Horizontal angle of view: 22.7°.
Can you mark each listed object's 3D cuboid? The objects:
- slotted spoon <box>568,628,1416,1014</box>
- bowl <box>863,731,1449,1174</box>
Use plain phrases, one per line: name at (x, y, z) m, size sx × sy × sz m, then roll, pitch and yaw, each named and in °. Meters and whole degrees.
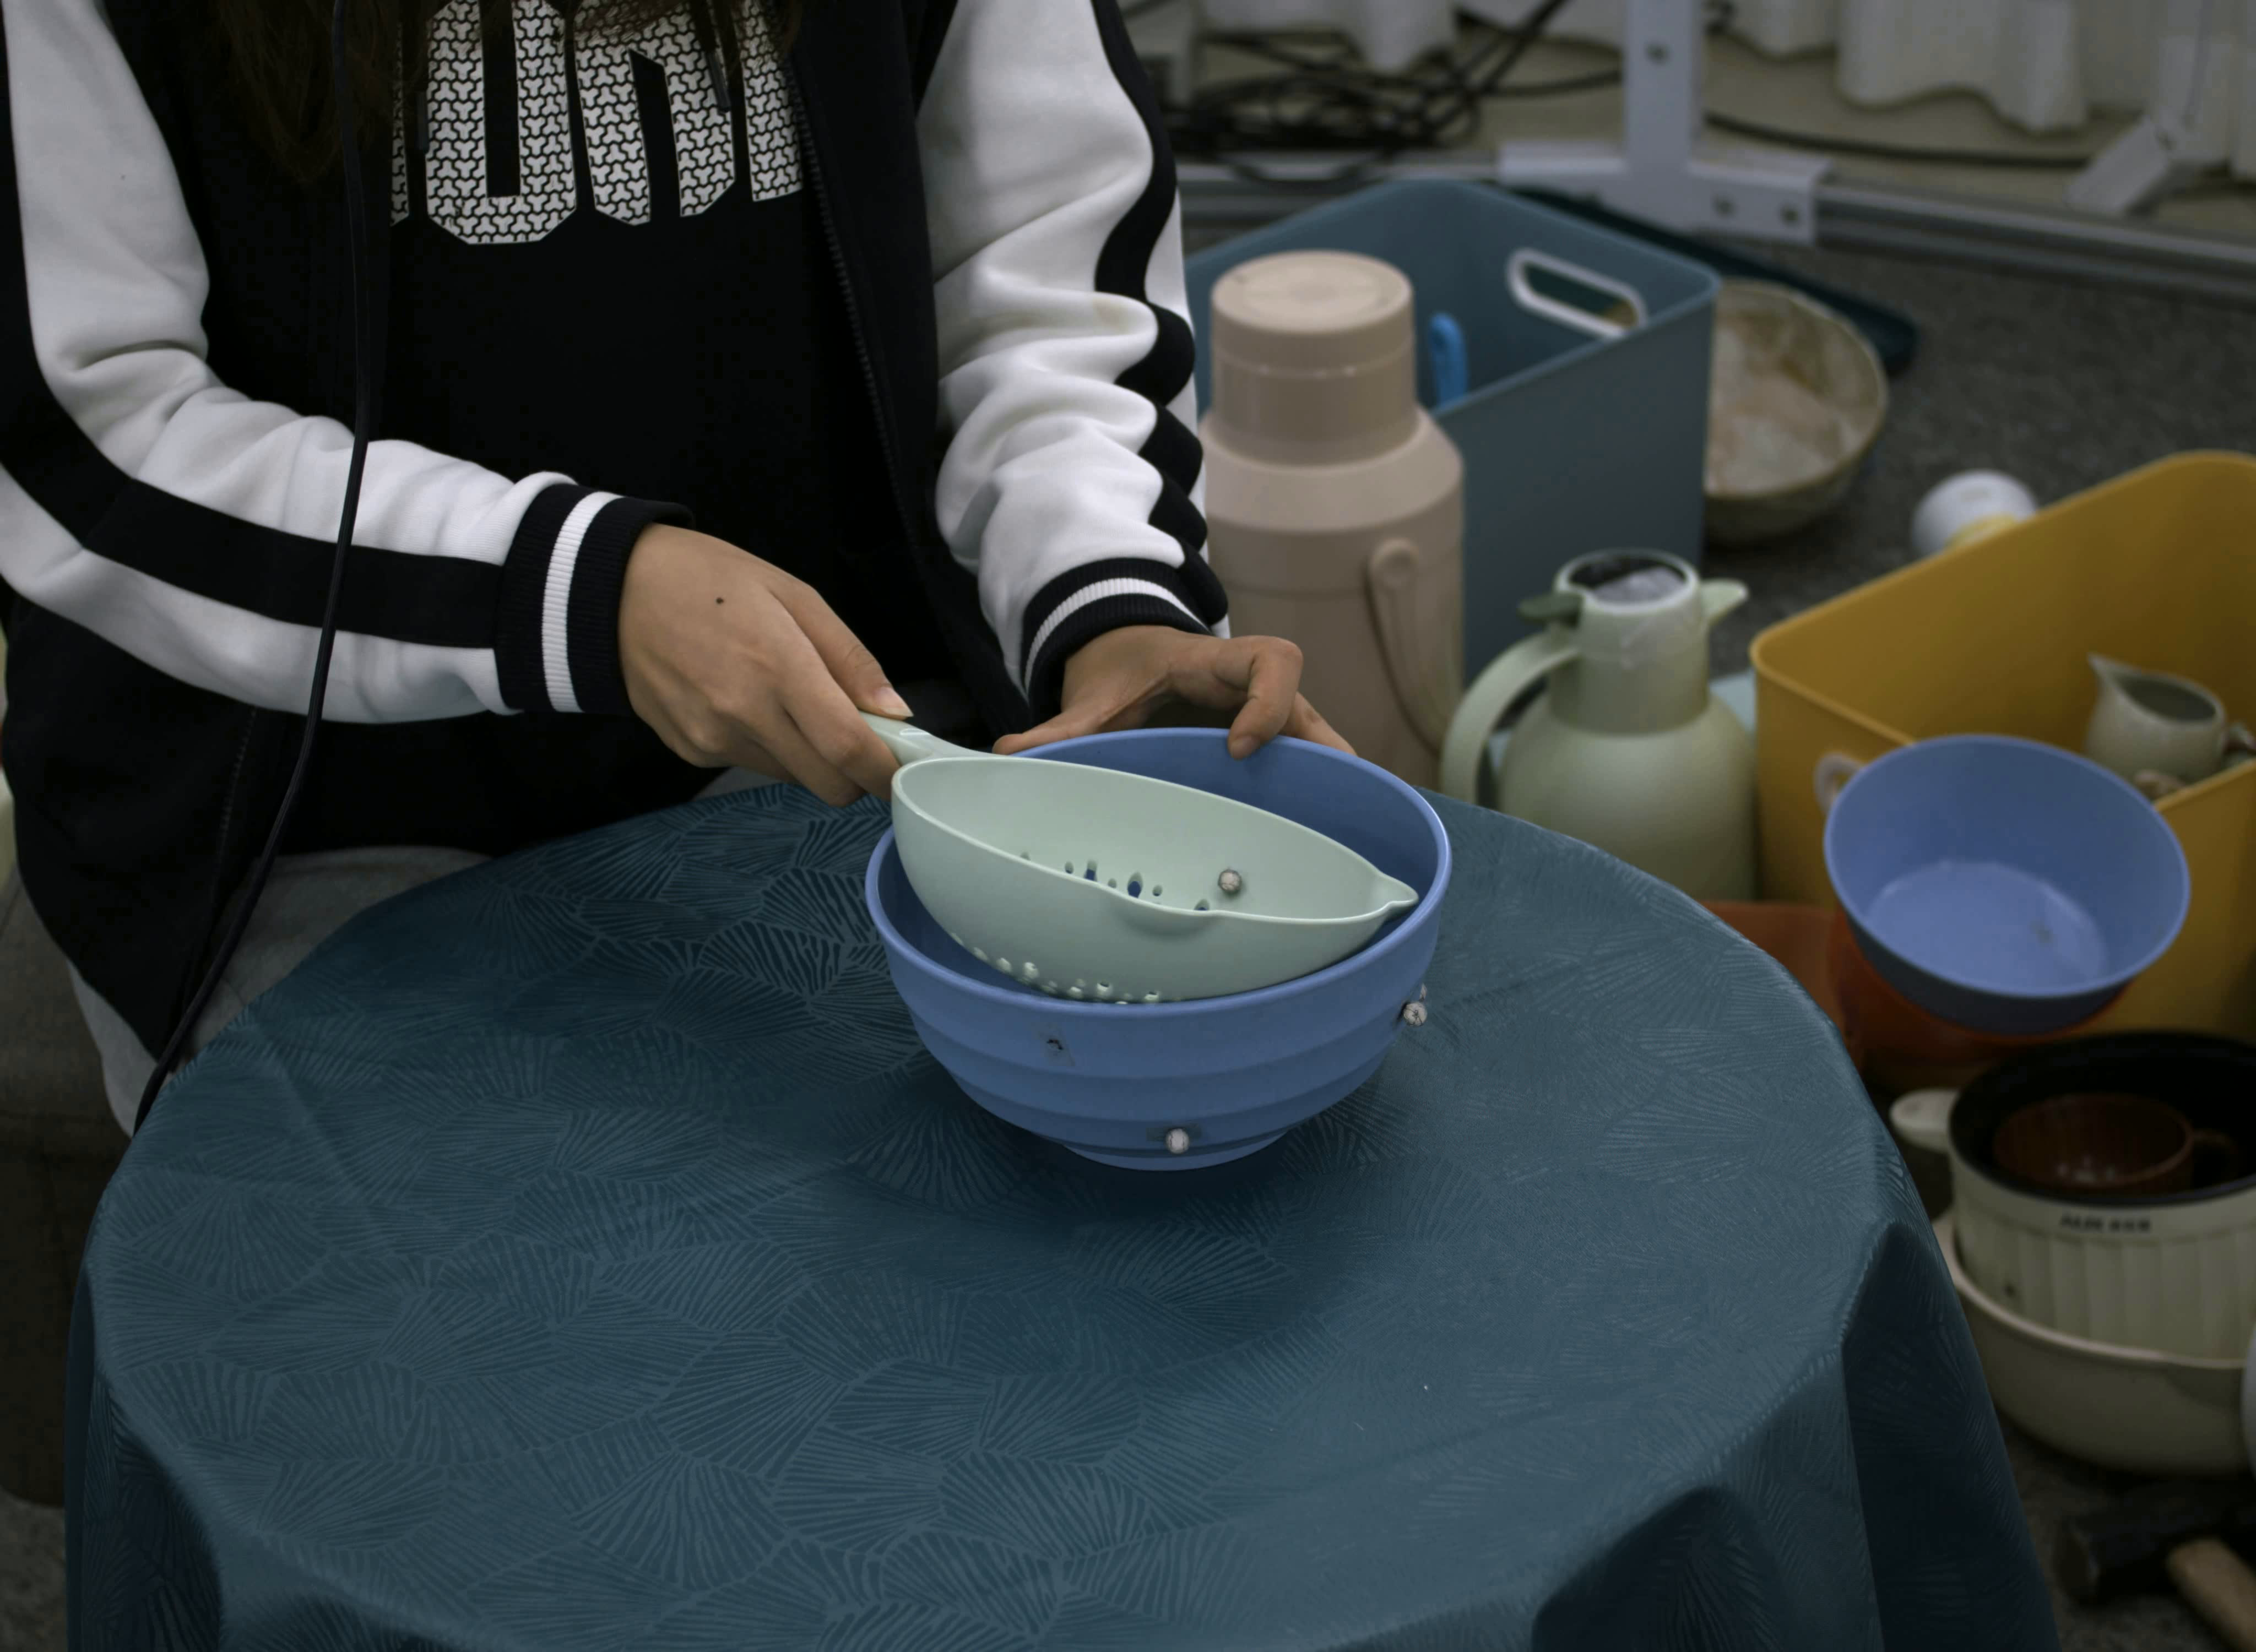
slotted spoon at (-0.068, -0.014, 1.909) m, size 0.359 × 0.075 × 0.170 m, roll 32°, pitch 20°, yaw 37°
bowl at (0.012, 0.053, 1.891) m, size 0.195 × 0.094 × 0.199 m, roll -3°, pitch 27°, yaw 2°
